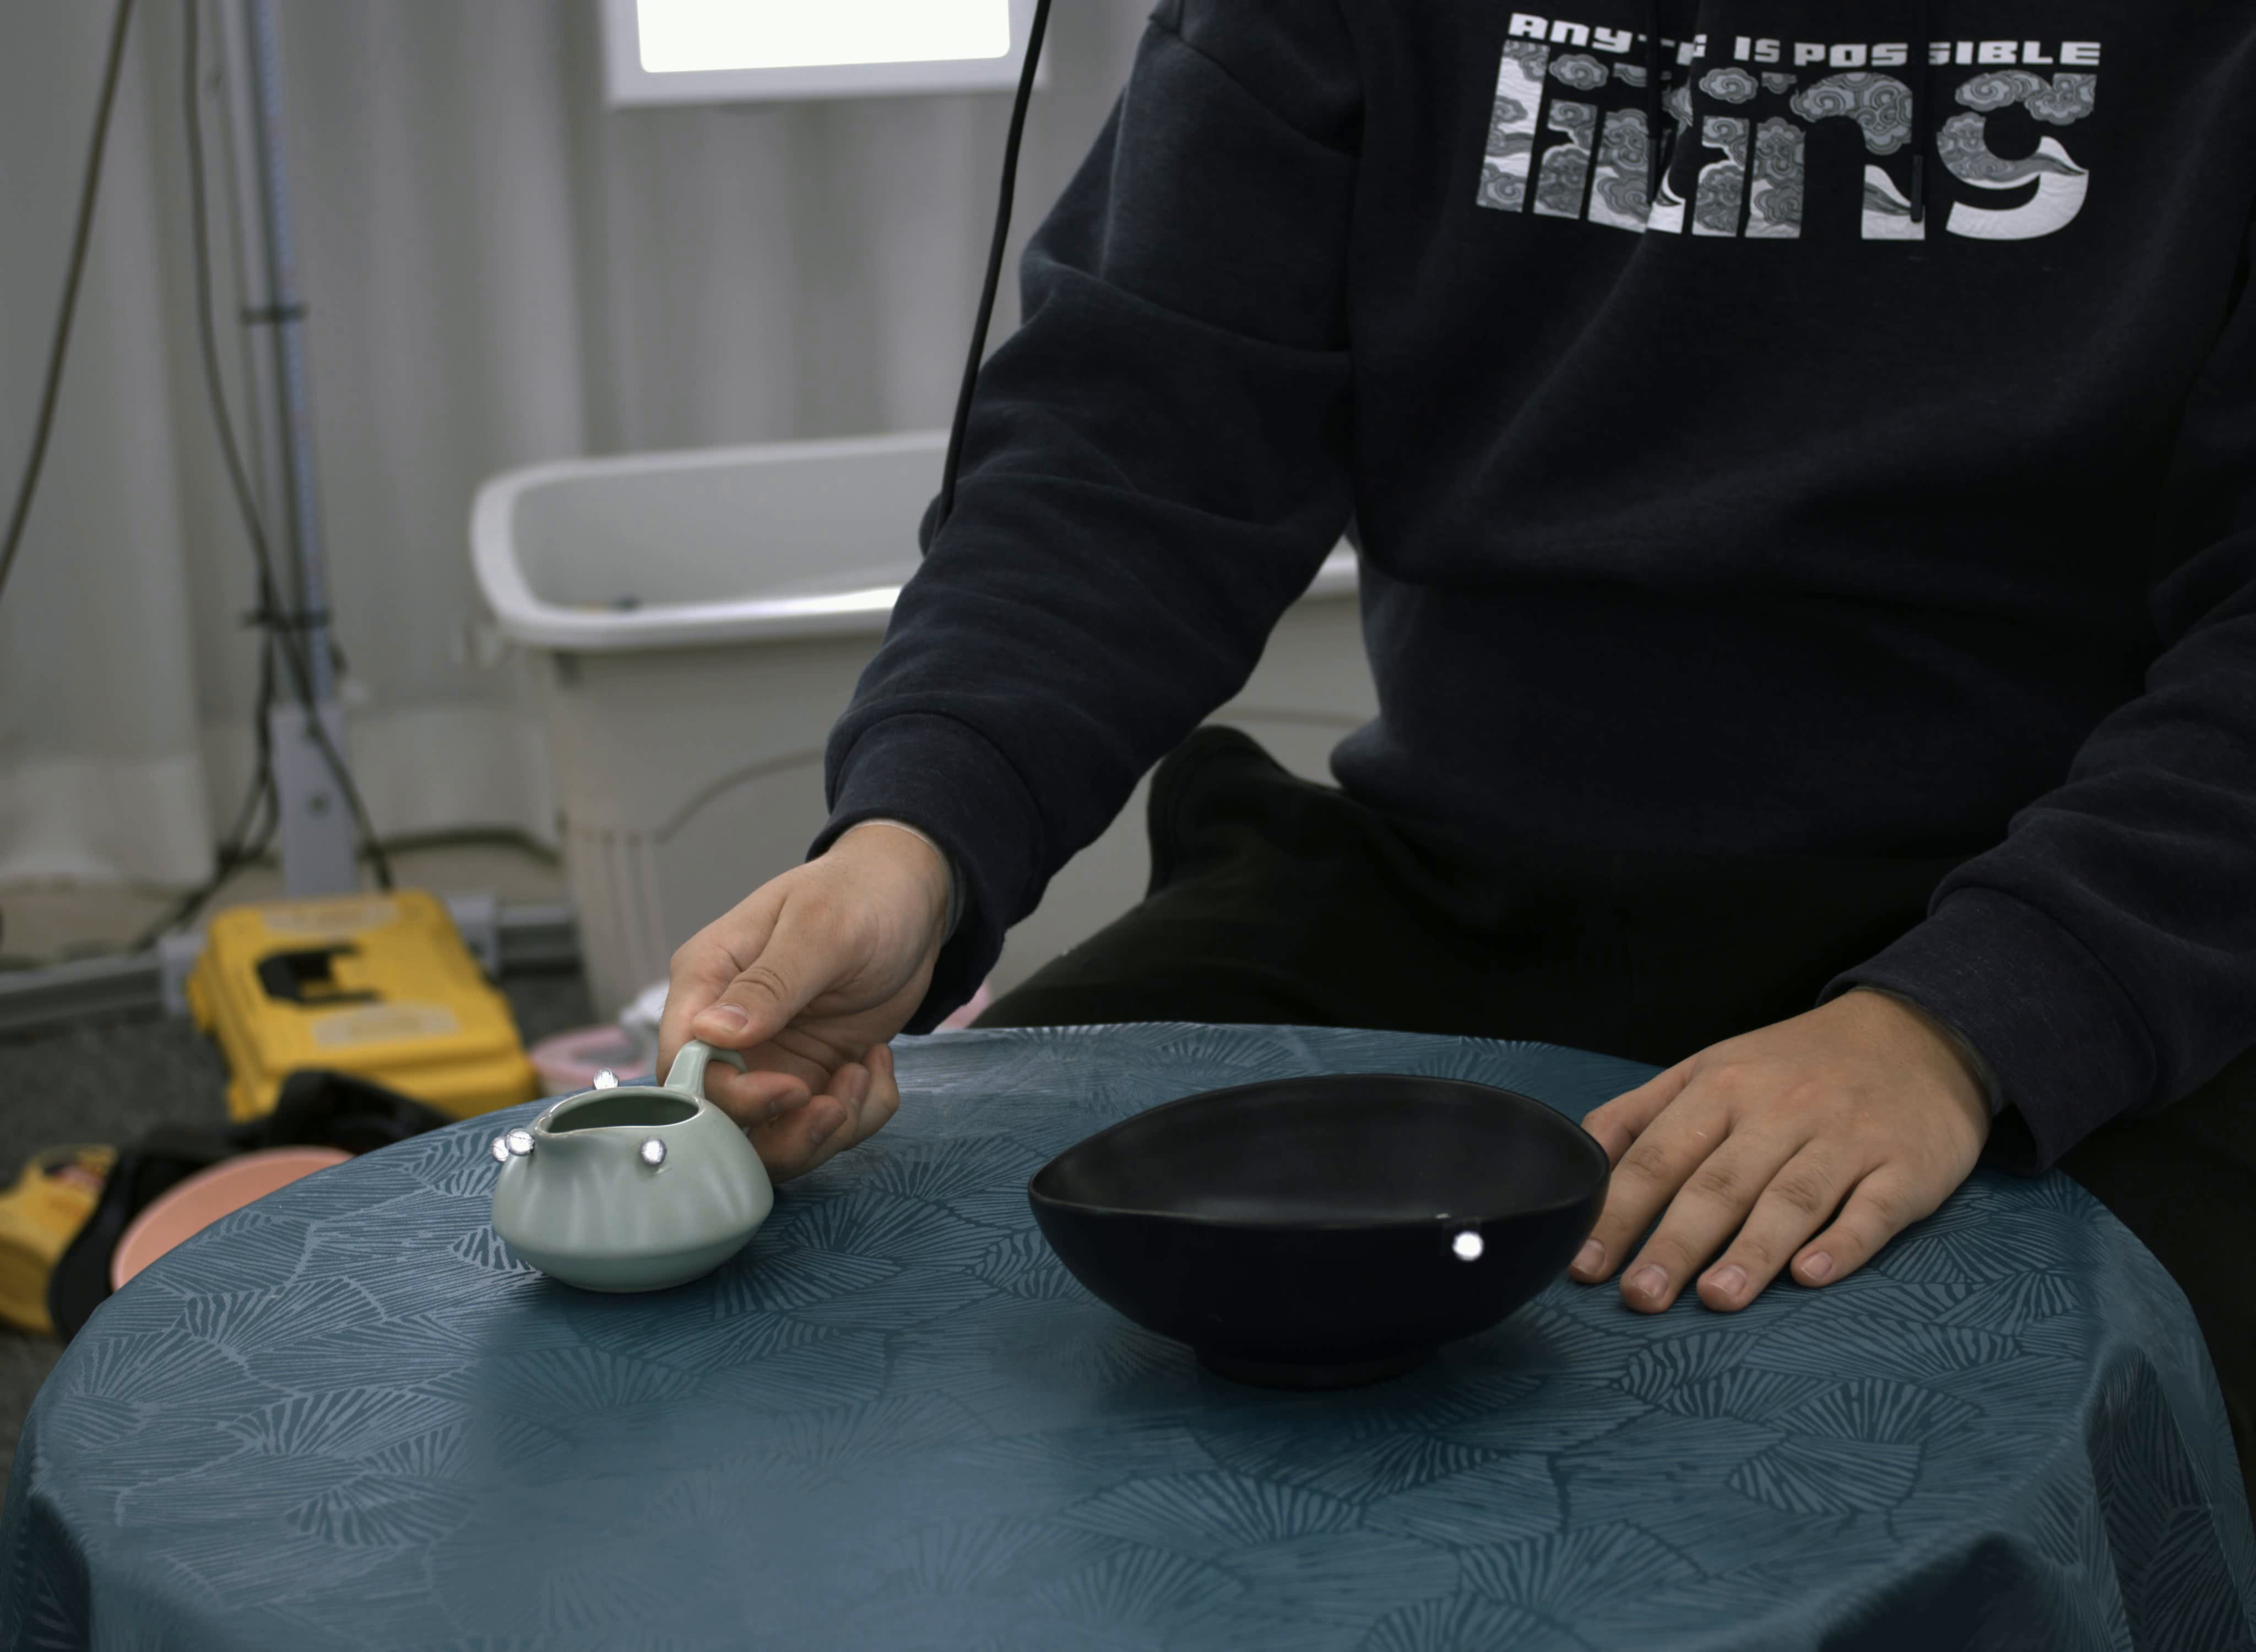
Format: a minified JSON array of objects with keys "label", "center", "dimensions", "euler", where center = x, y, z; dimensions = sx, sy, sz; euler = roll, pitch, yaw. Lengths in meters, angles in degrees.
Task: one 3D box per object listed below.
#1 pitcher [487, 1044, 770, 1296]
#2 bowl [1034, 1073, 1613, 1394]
[{"label":"pitcher","center":[-0.146,0.105,1.671],"dimensions":[0.086,0.060,0.108],"euler":[6,15,26]},{"label":"bowl","center":[0.055,0.121,1.562],"dimensions":[0.170,0.066,0.138],"euler":[1,14,17]}]
